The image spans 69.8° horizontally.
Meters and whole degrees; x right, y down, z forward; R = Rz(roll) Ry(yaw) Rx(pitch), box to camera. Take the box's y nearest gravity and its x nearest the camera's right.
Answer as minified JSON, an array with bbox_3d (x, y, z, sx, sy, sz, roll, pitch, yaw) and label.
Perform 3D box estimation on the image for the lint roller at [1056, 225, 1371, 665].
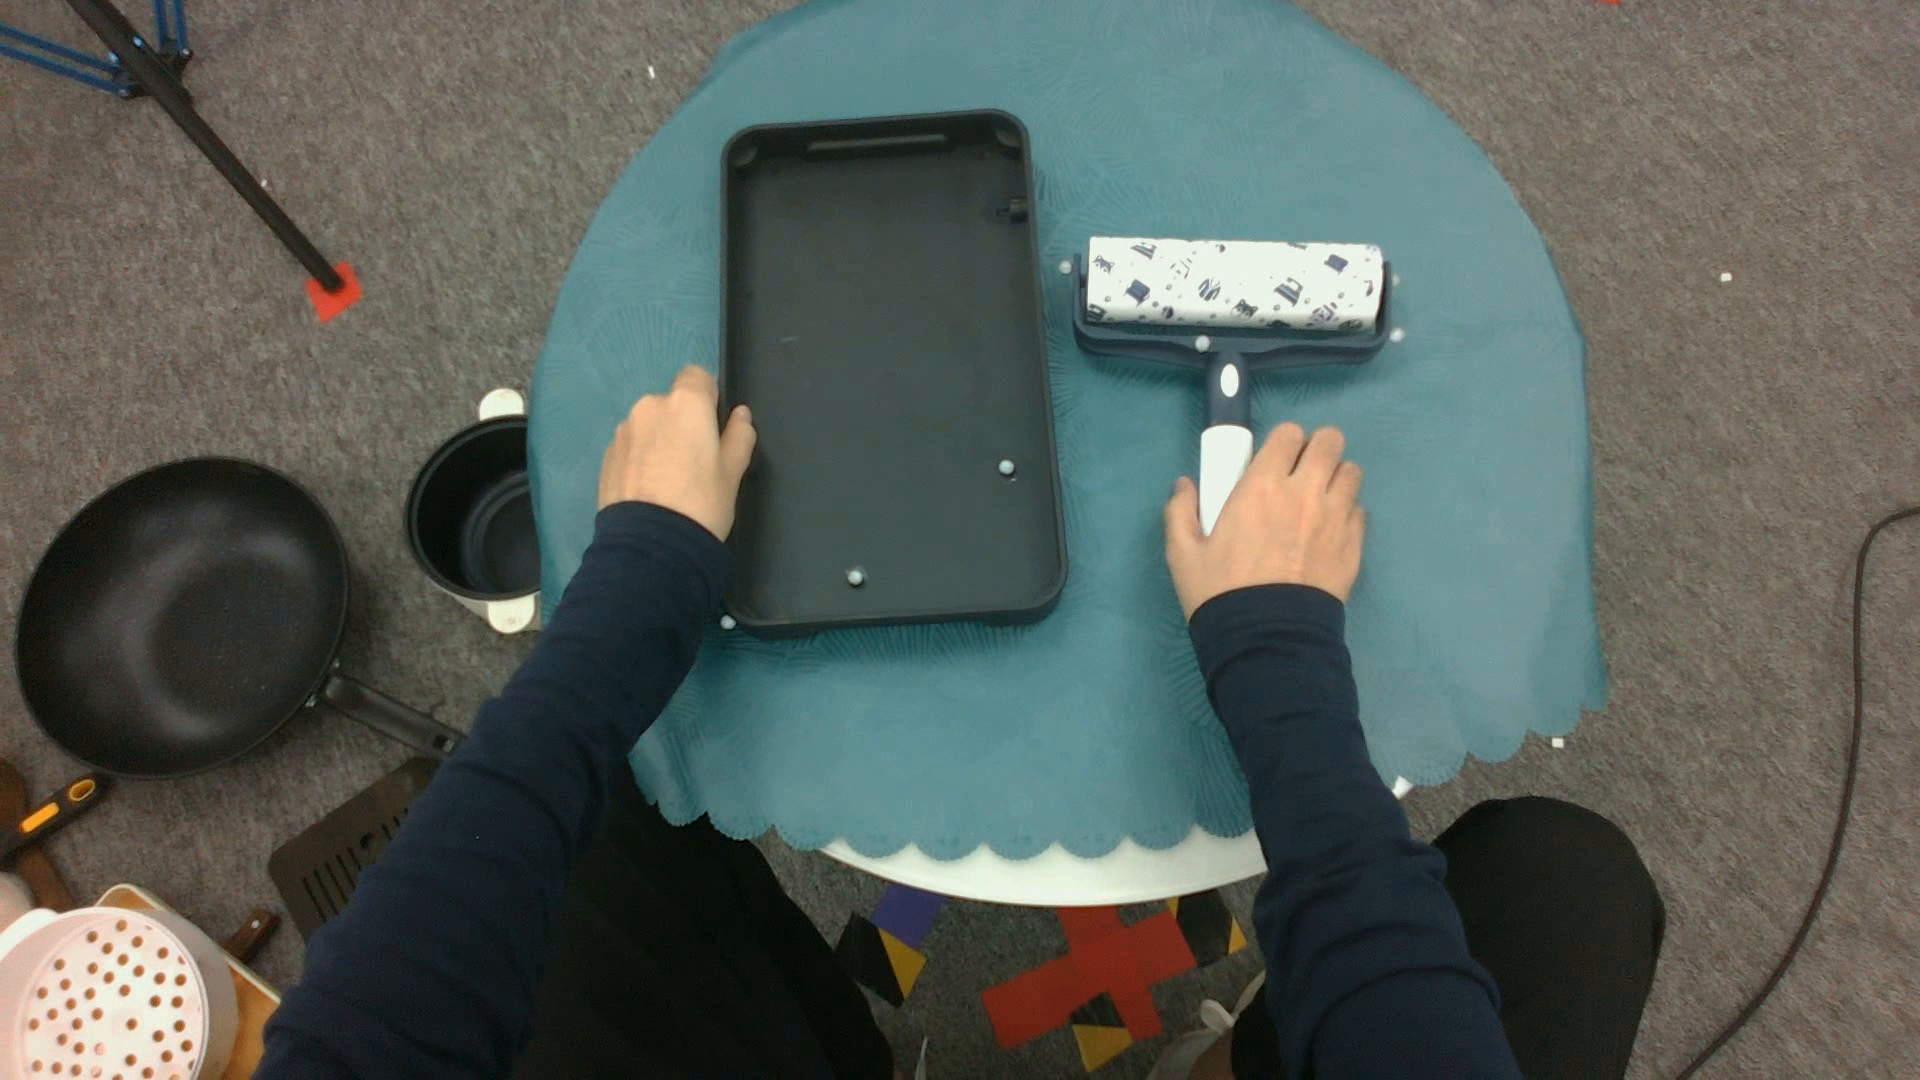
[{"bbox_3d":[0.138,-0.056,0.751,0.176,0.050,0.247,2,72,2],"label":"lint roller"}]

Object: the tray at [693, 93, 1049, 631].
[{"bbox_3d":[-0.053,-0.107,0.773,0.184,0.037,0.319,-4,68,1],"label":"tray"}]
